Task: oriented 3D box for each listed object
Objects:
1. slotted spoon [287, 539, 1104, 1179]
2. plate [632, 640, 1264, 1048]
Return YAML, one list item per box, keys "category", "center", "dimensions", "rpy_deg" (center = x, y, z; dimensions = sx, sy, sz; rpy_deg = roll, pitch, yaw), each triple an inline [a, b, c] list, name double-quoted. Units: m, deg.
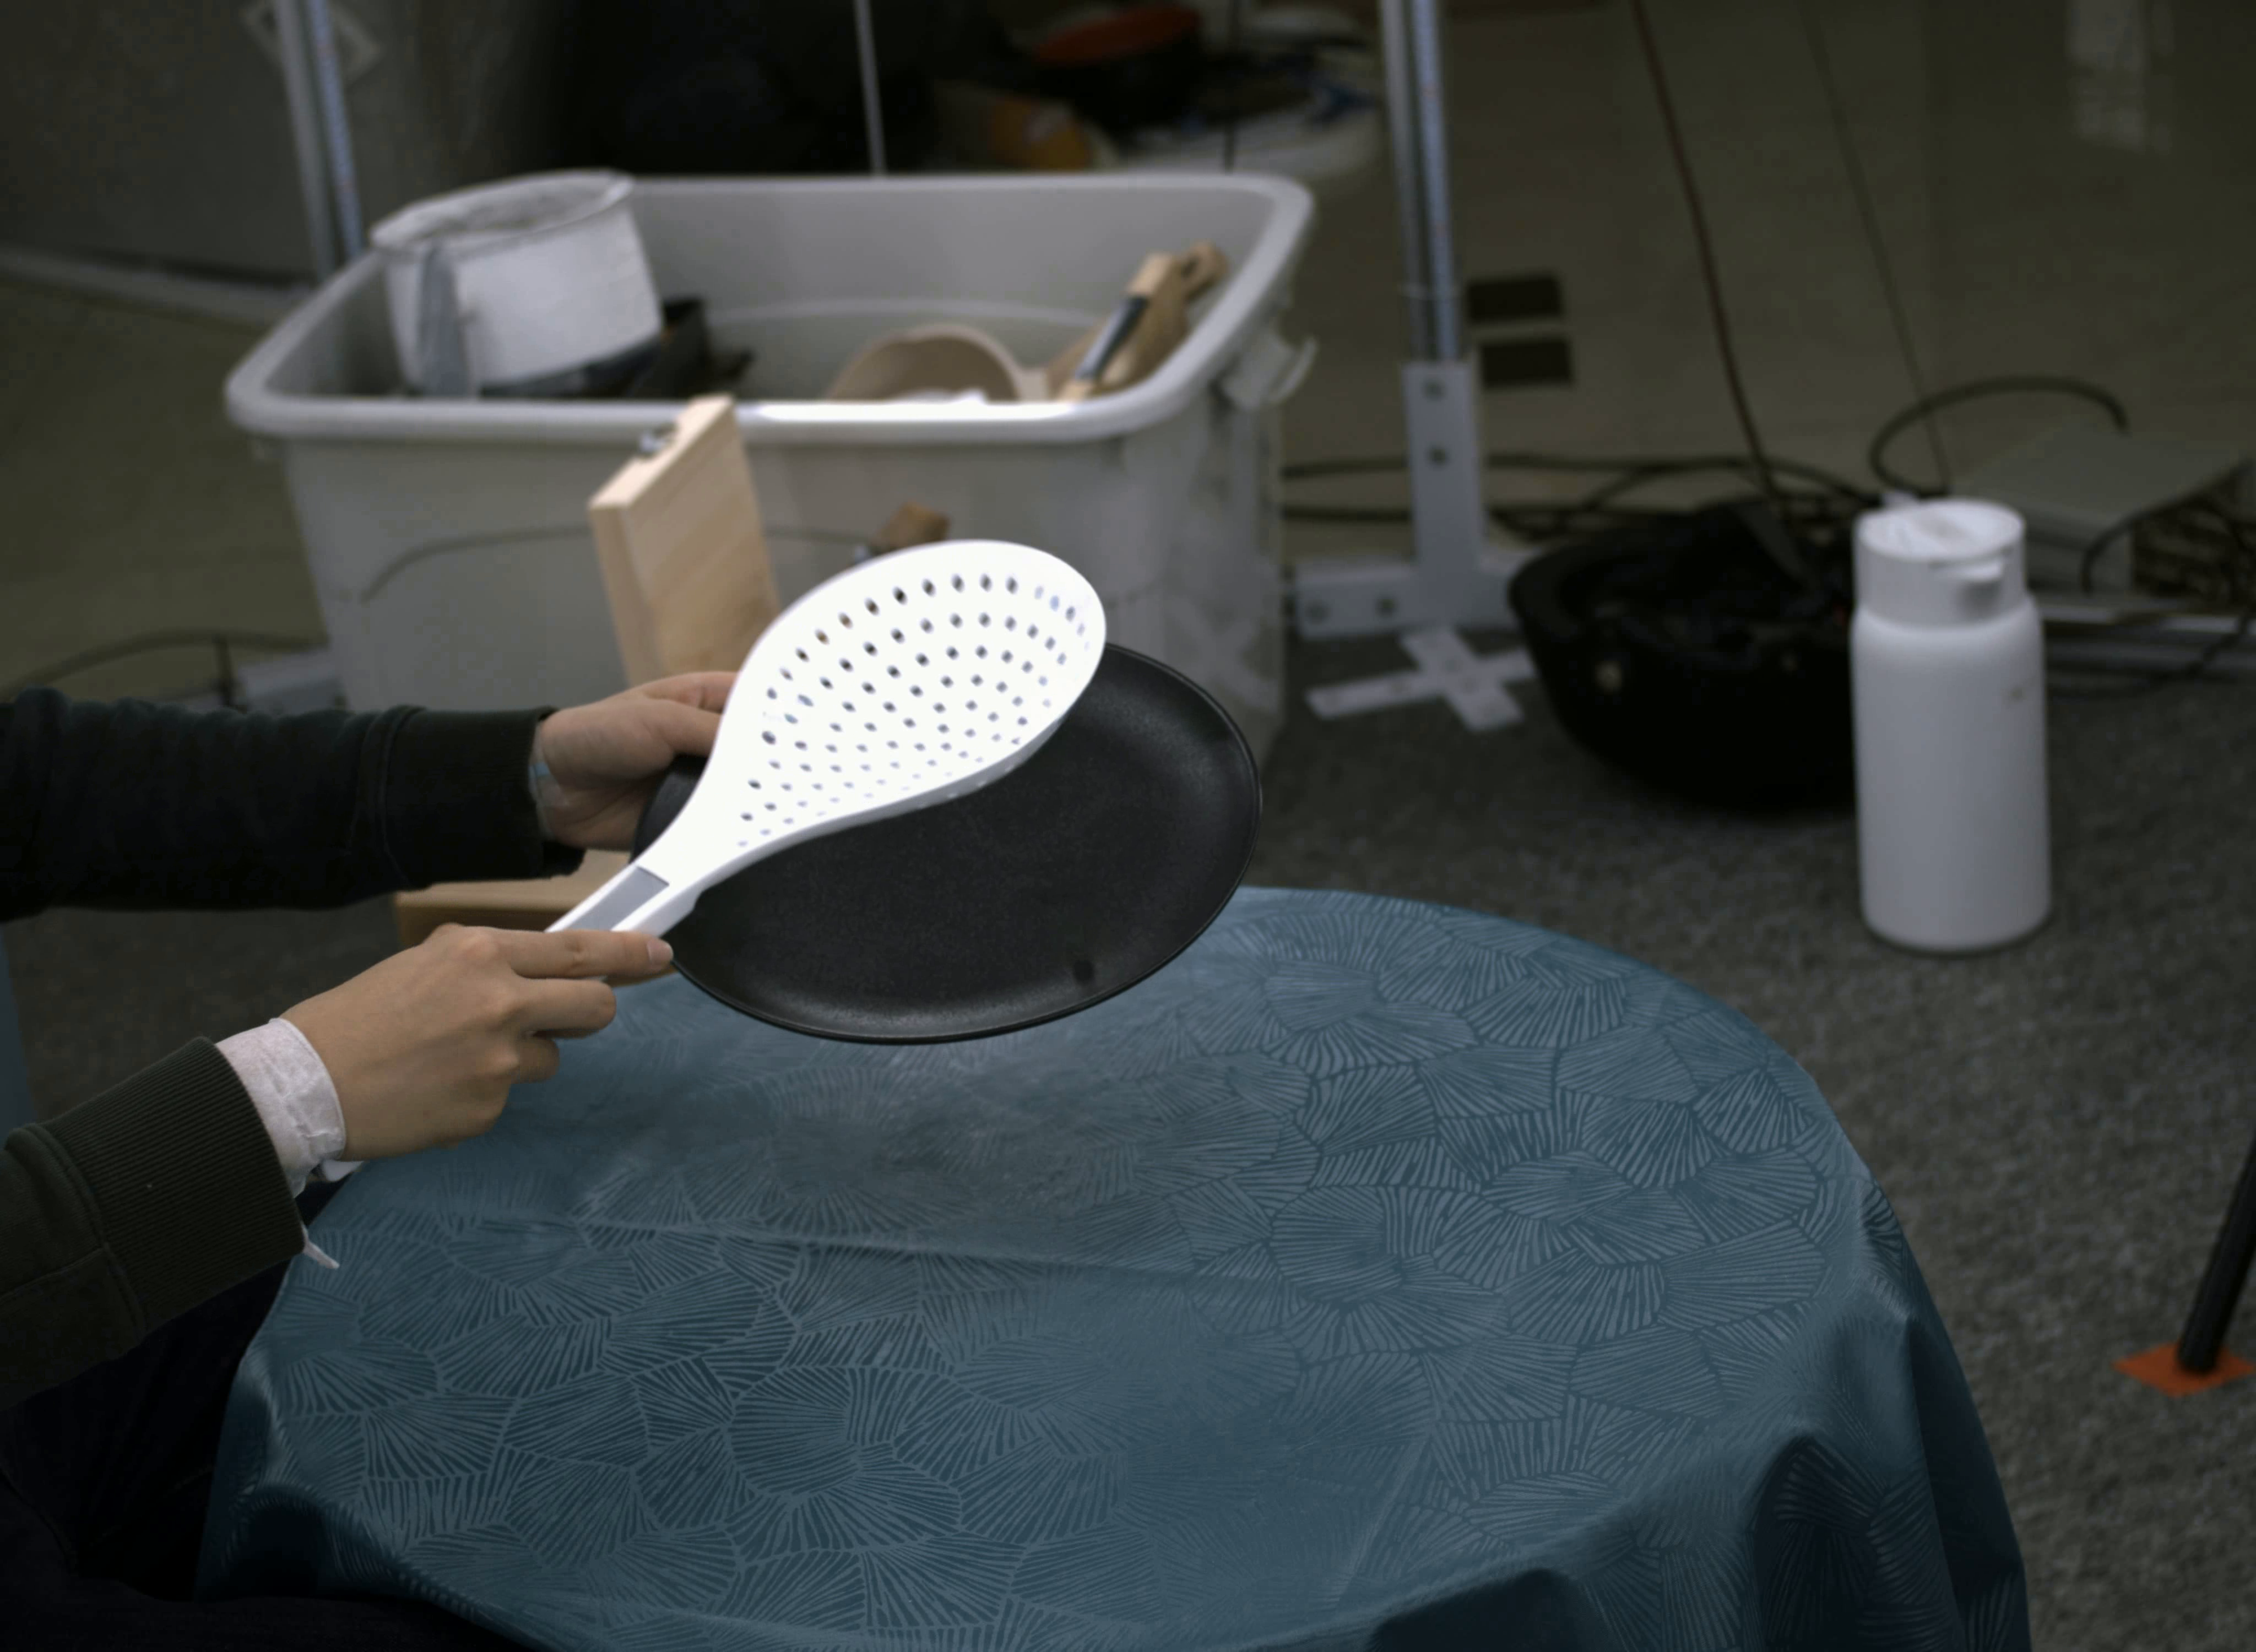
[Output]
- category: "slotted spoon"
  center: [-0.150, 0.010, 1.964]
  dimensions: [0.347, 0.046, 0.134]
  rpy_deg: [-36, 43, -26]
- category: "plate"
  center: [-0.068, 0.009, 2.162]
  dimensions: [0.244, 0.024, 0.240]
  rpy_deg: [-5, 41, 4]
